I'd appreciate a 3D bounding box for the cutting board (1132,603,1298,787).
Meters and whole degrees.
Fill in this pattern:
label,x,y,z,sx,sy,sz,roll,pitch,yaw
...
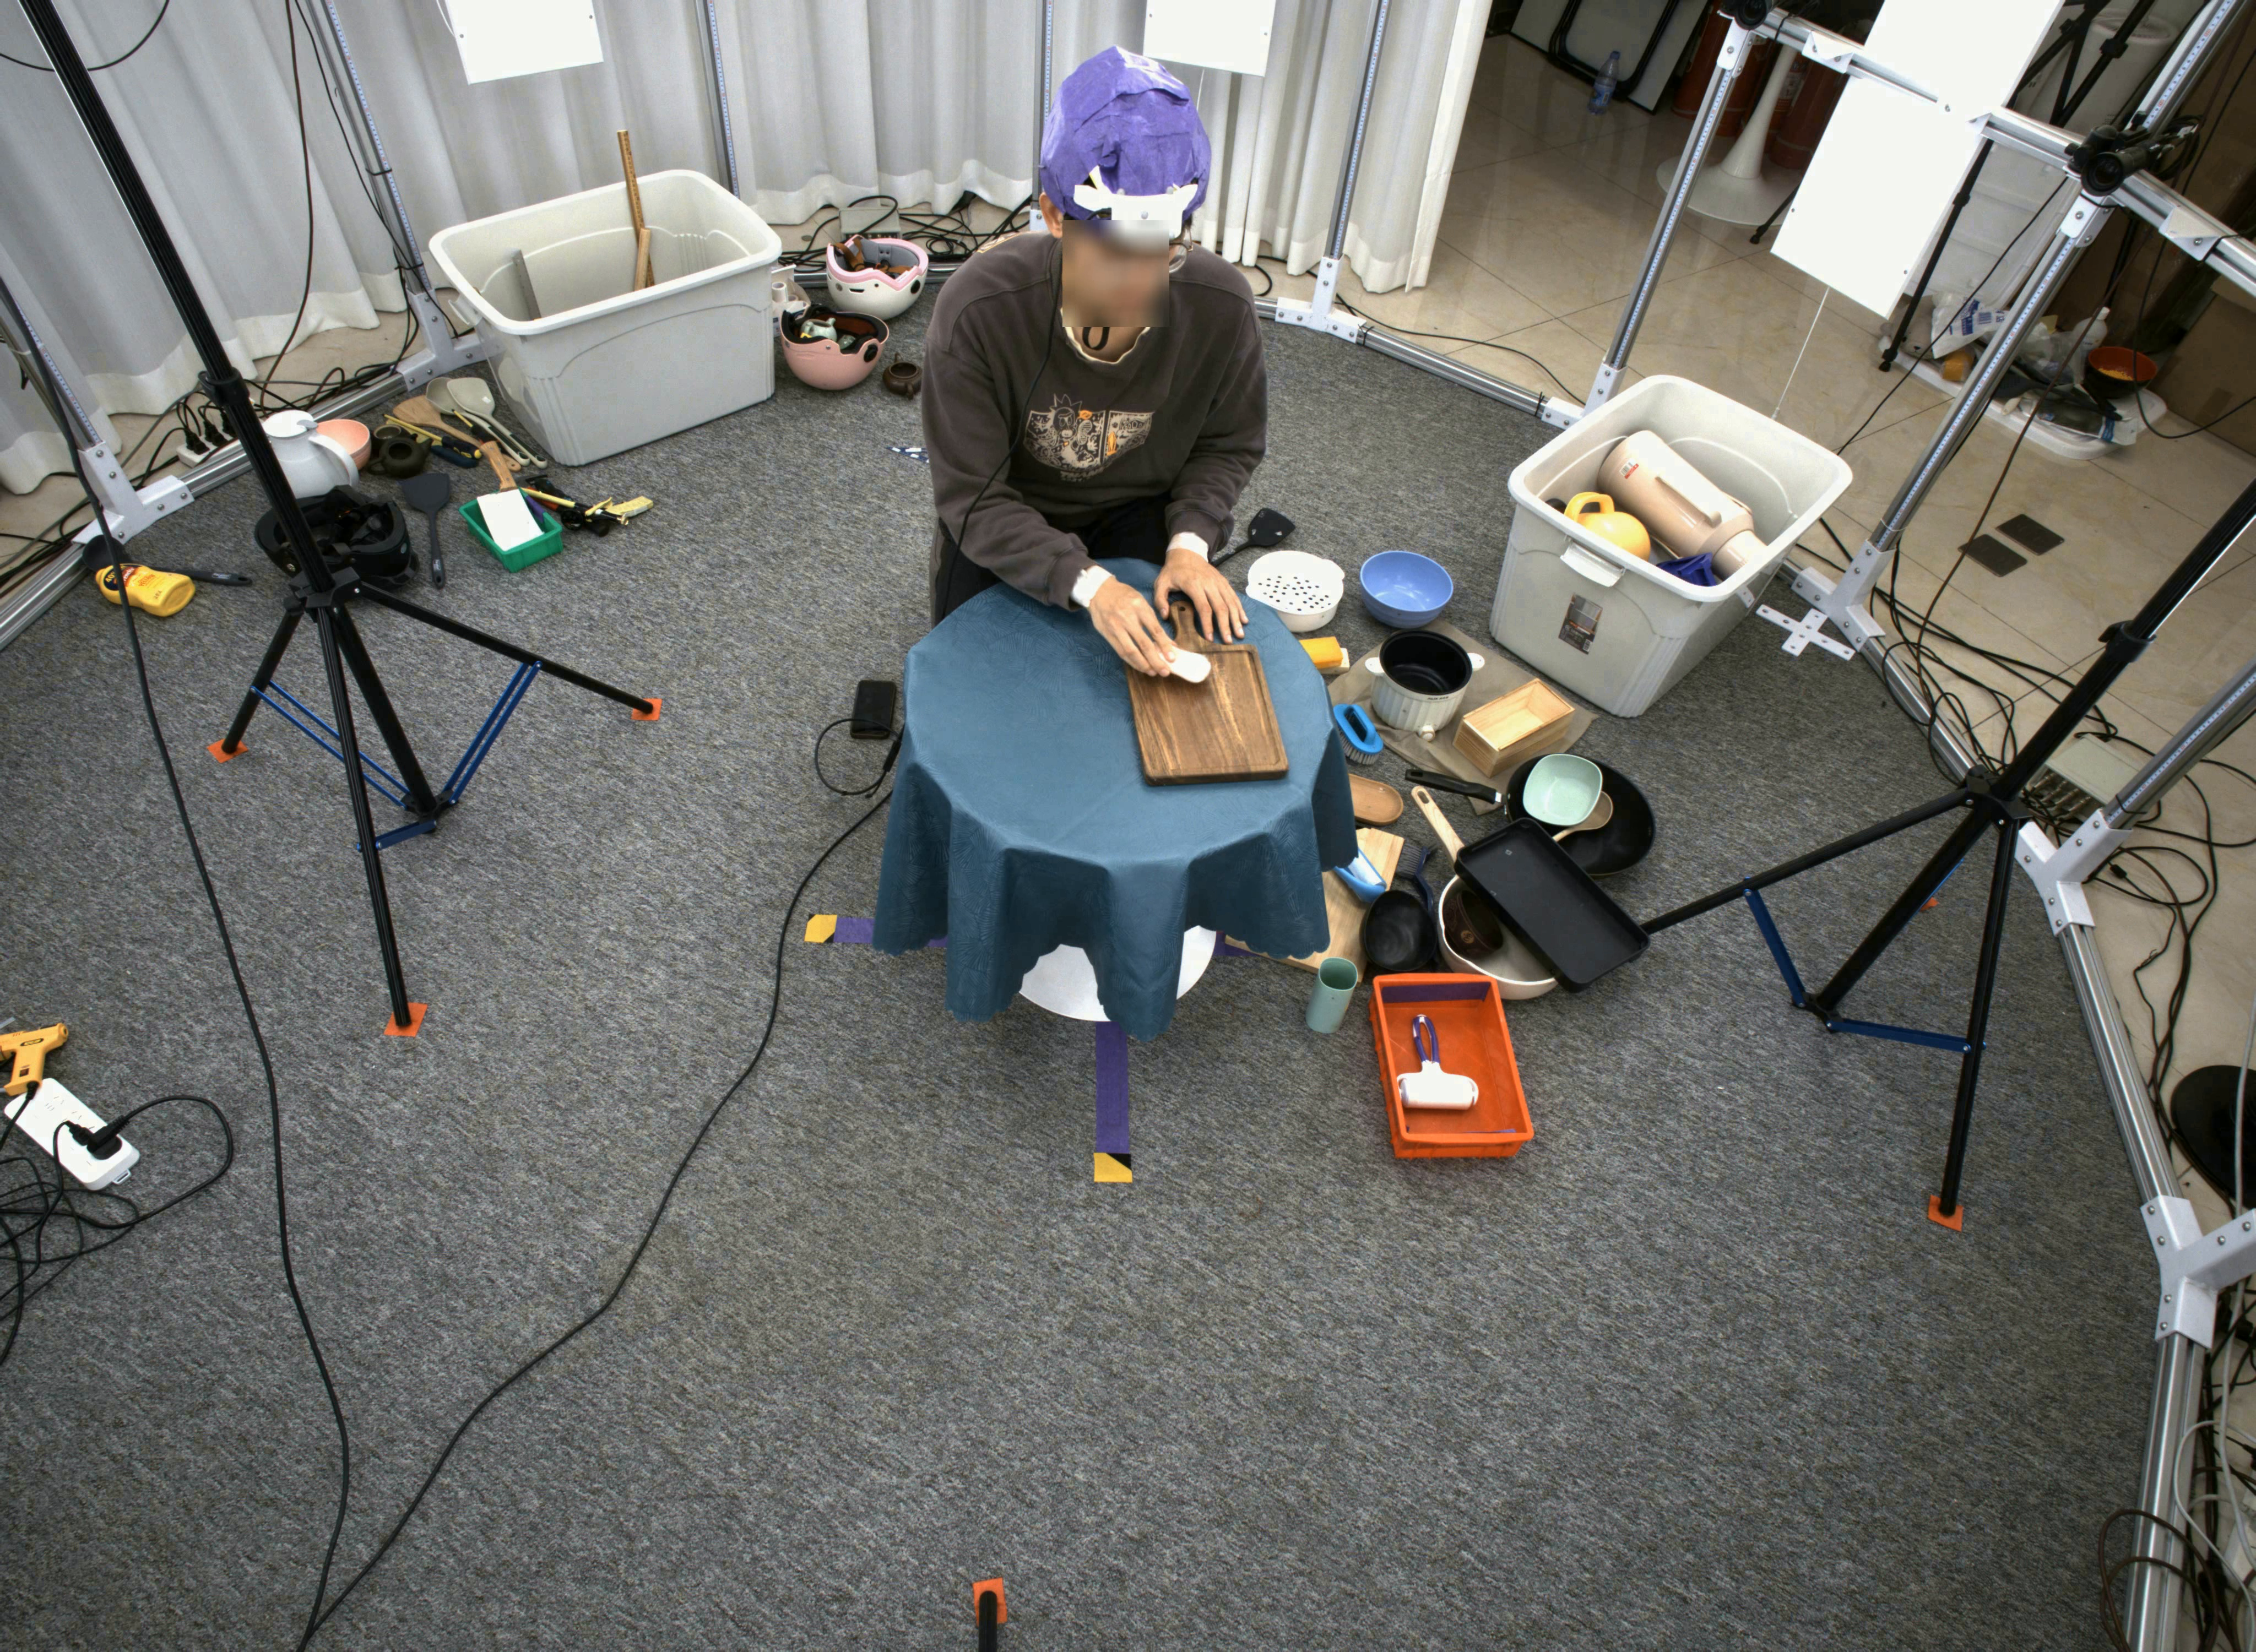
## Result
label,x,y,z,sx,sy,sz,roll,pitch,yaw
cutting board,0.113,-0.196,1.830,0.201,0.022,0.361,-3,49,-6

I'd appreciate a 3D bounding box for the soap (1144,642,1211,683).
label,x,y,z,sx,sy,sz,roll,pitch,yaw
soap,0.070,-0.232,1.819,0.095,0.029,0.051,20,51,12
